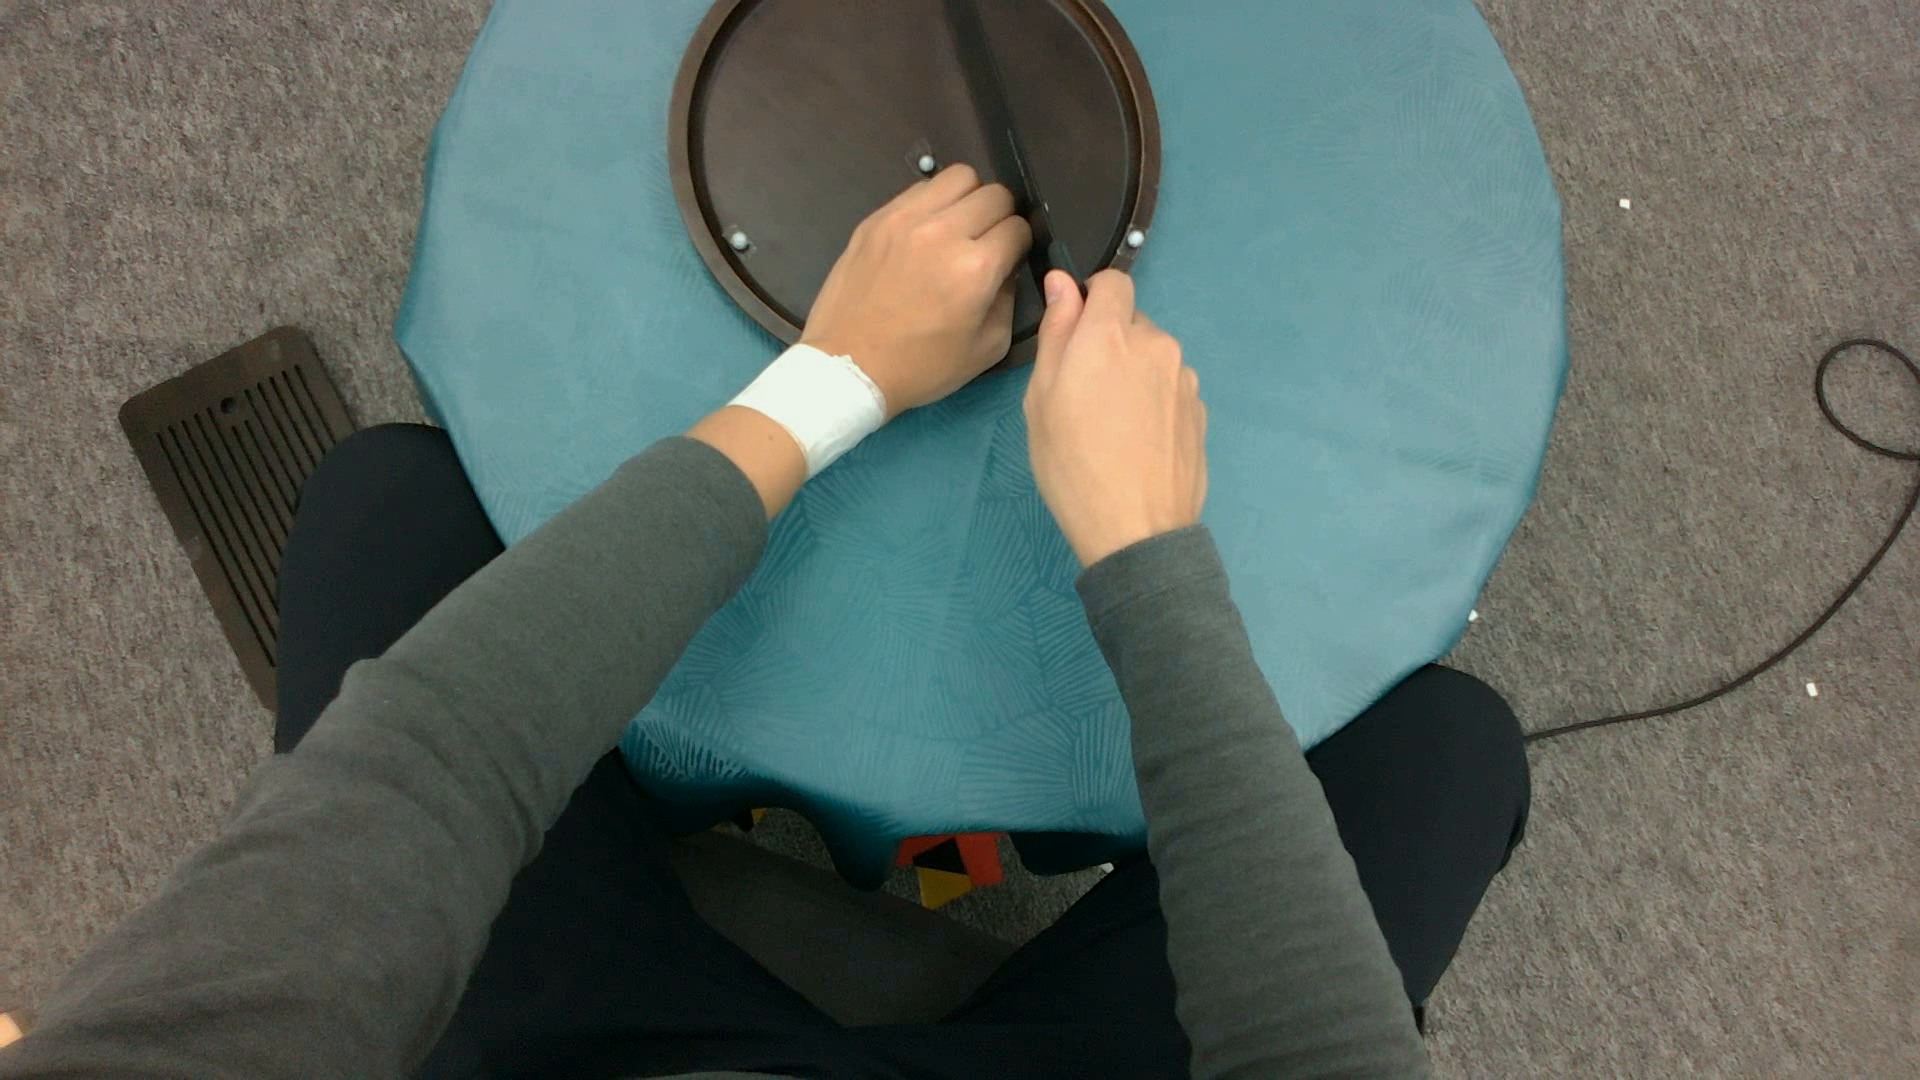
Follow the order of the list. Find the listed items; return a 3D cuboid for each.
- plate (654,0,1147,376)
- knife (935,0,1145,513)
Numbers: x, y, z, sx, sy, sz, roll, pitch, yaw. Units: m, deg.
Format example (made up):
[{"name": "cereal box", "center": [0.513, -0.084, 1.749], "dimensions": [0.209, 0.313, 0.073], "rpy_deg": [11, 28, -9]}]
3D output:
[{"name": "plate", "center": [-0.029, -0.206, 0.713], "dimensions": [0.255, 0.029, 0.255], "rpy_deg": [1, 81, -7]}, {"name": "knife", "center": [0.028, -0.156, 0.652], "dimensions": [0.021, 0.081, 0.303], "rpy_deg": [-17, 78, -6]}]
